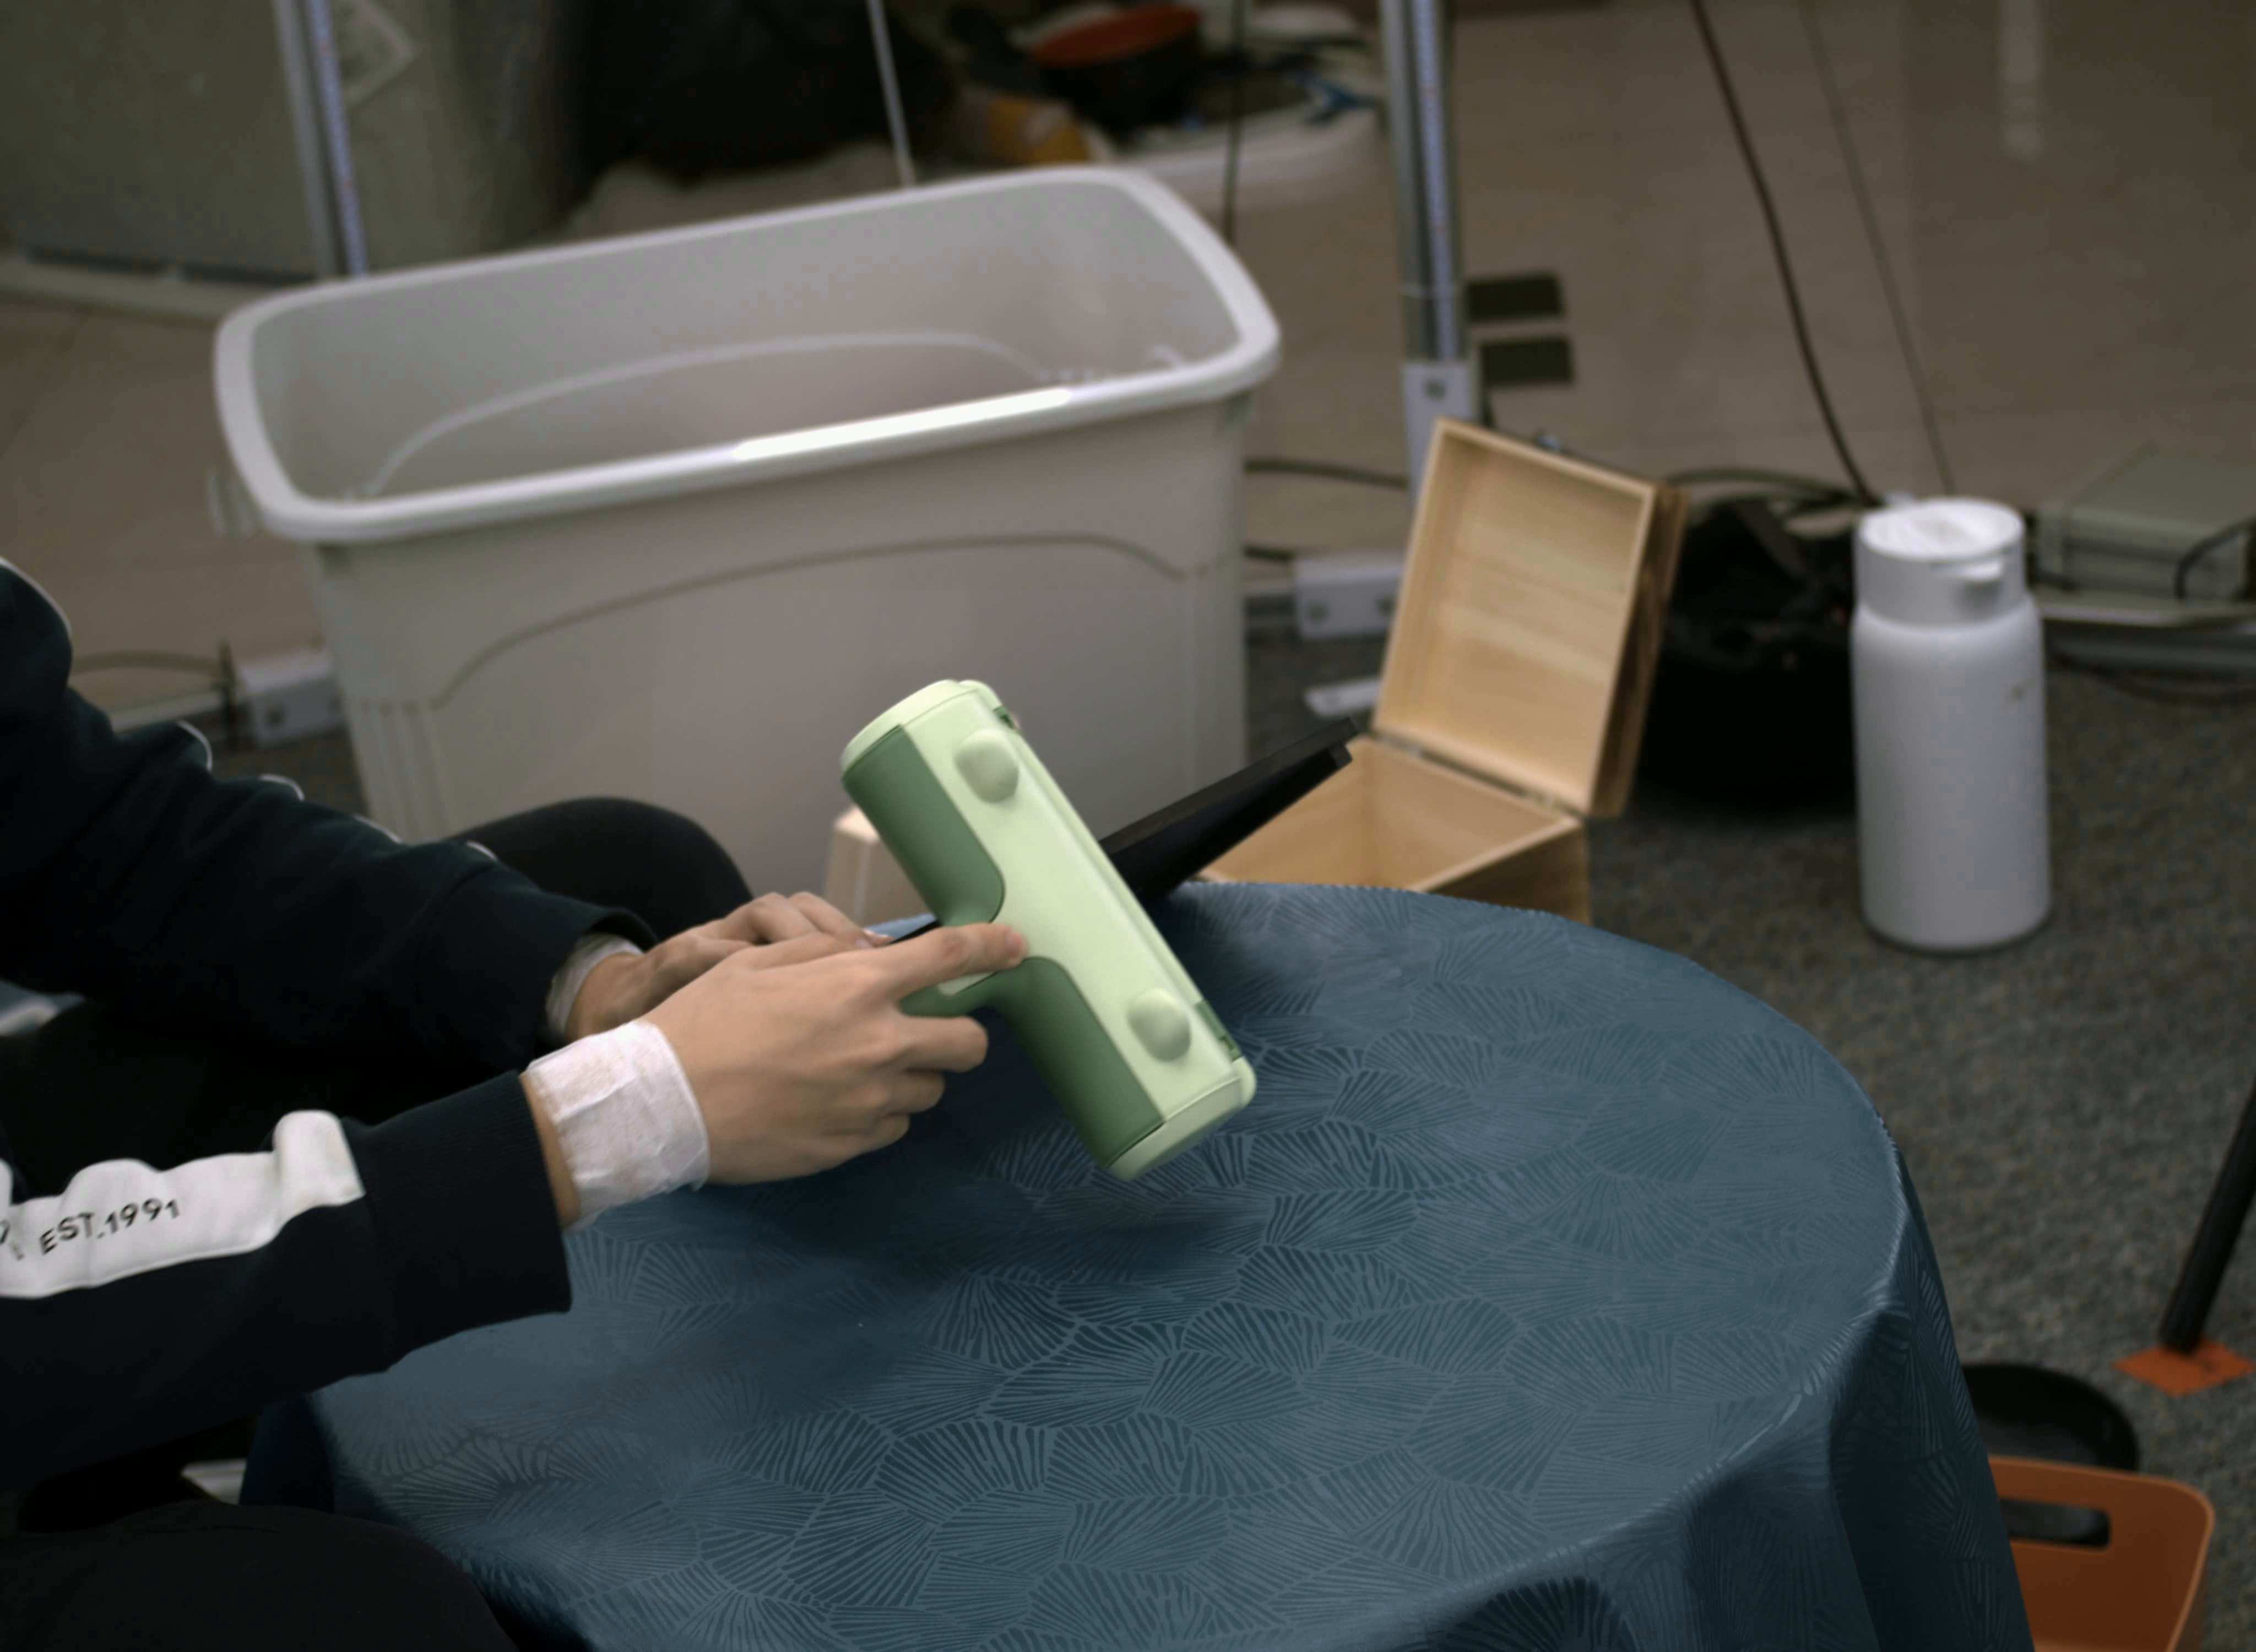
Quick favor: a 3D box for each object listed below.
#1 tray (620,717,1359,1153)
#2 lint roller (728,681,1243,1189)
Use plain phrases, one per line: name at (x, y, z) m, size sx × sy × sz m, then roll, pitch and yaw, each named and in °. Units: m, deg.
tray at (-0.051, 0.044, 2.235) m, size 0.303 × 0.018 × 0.172 m, roll -27°, pitch -6°, yaw -36°
lint roller at (-0.065, 0.052, 2.057) m, size 0.182 × 0.198 × 0.083 m, roll -27°, pitch -8°, yaw -46°
